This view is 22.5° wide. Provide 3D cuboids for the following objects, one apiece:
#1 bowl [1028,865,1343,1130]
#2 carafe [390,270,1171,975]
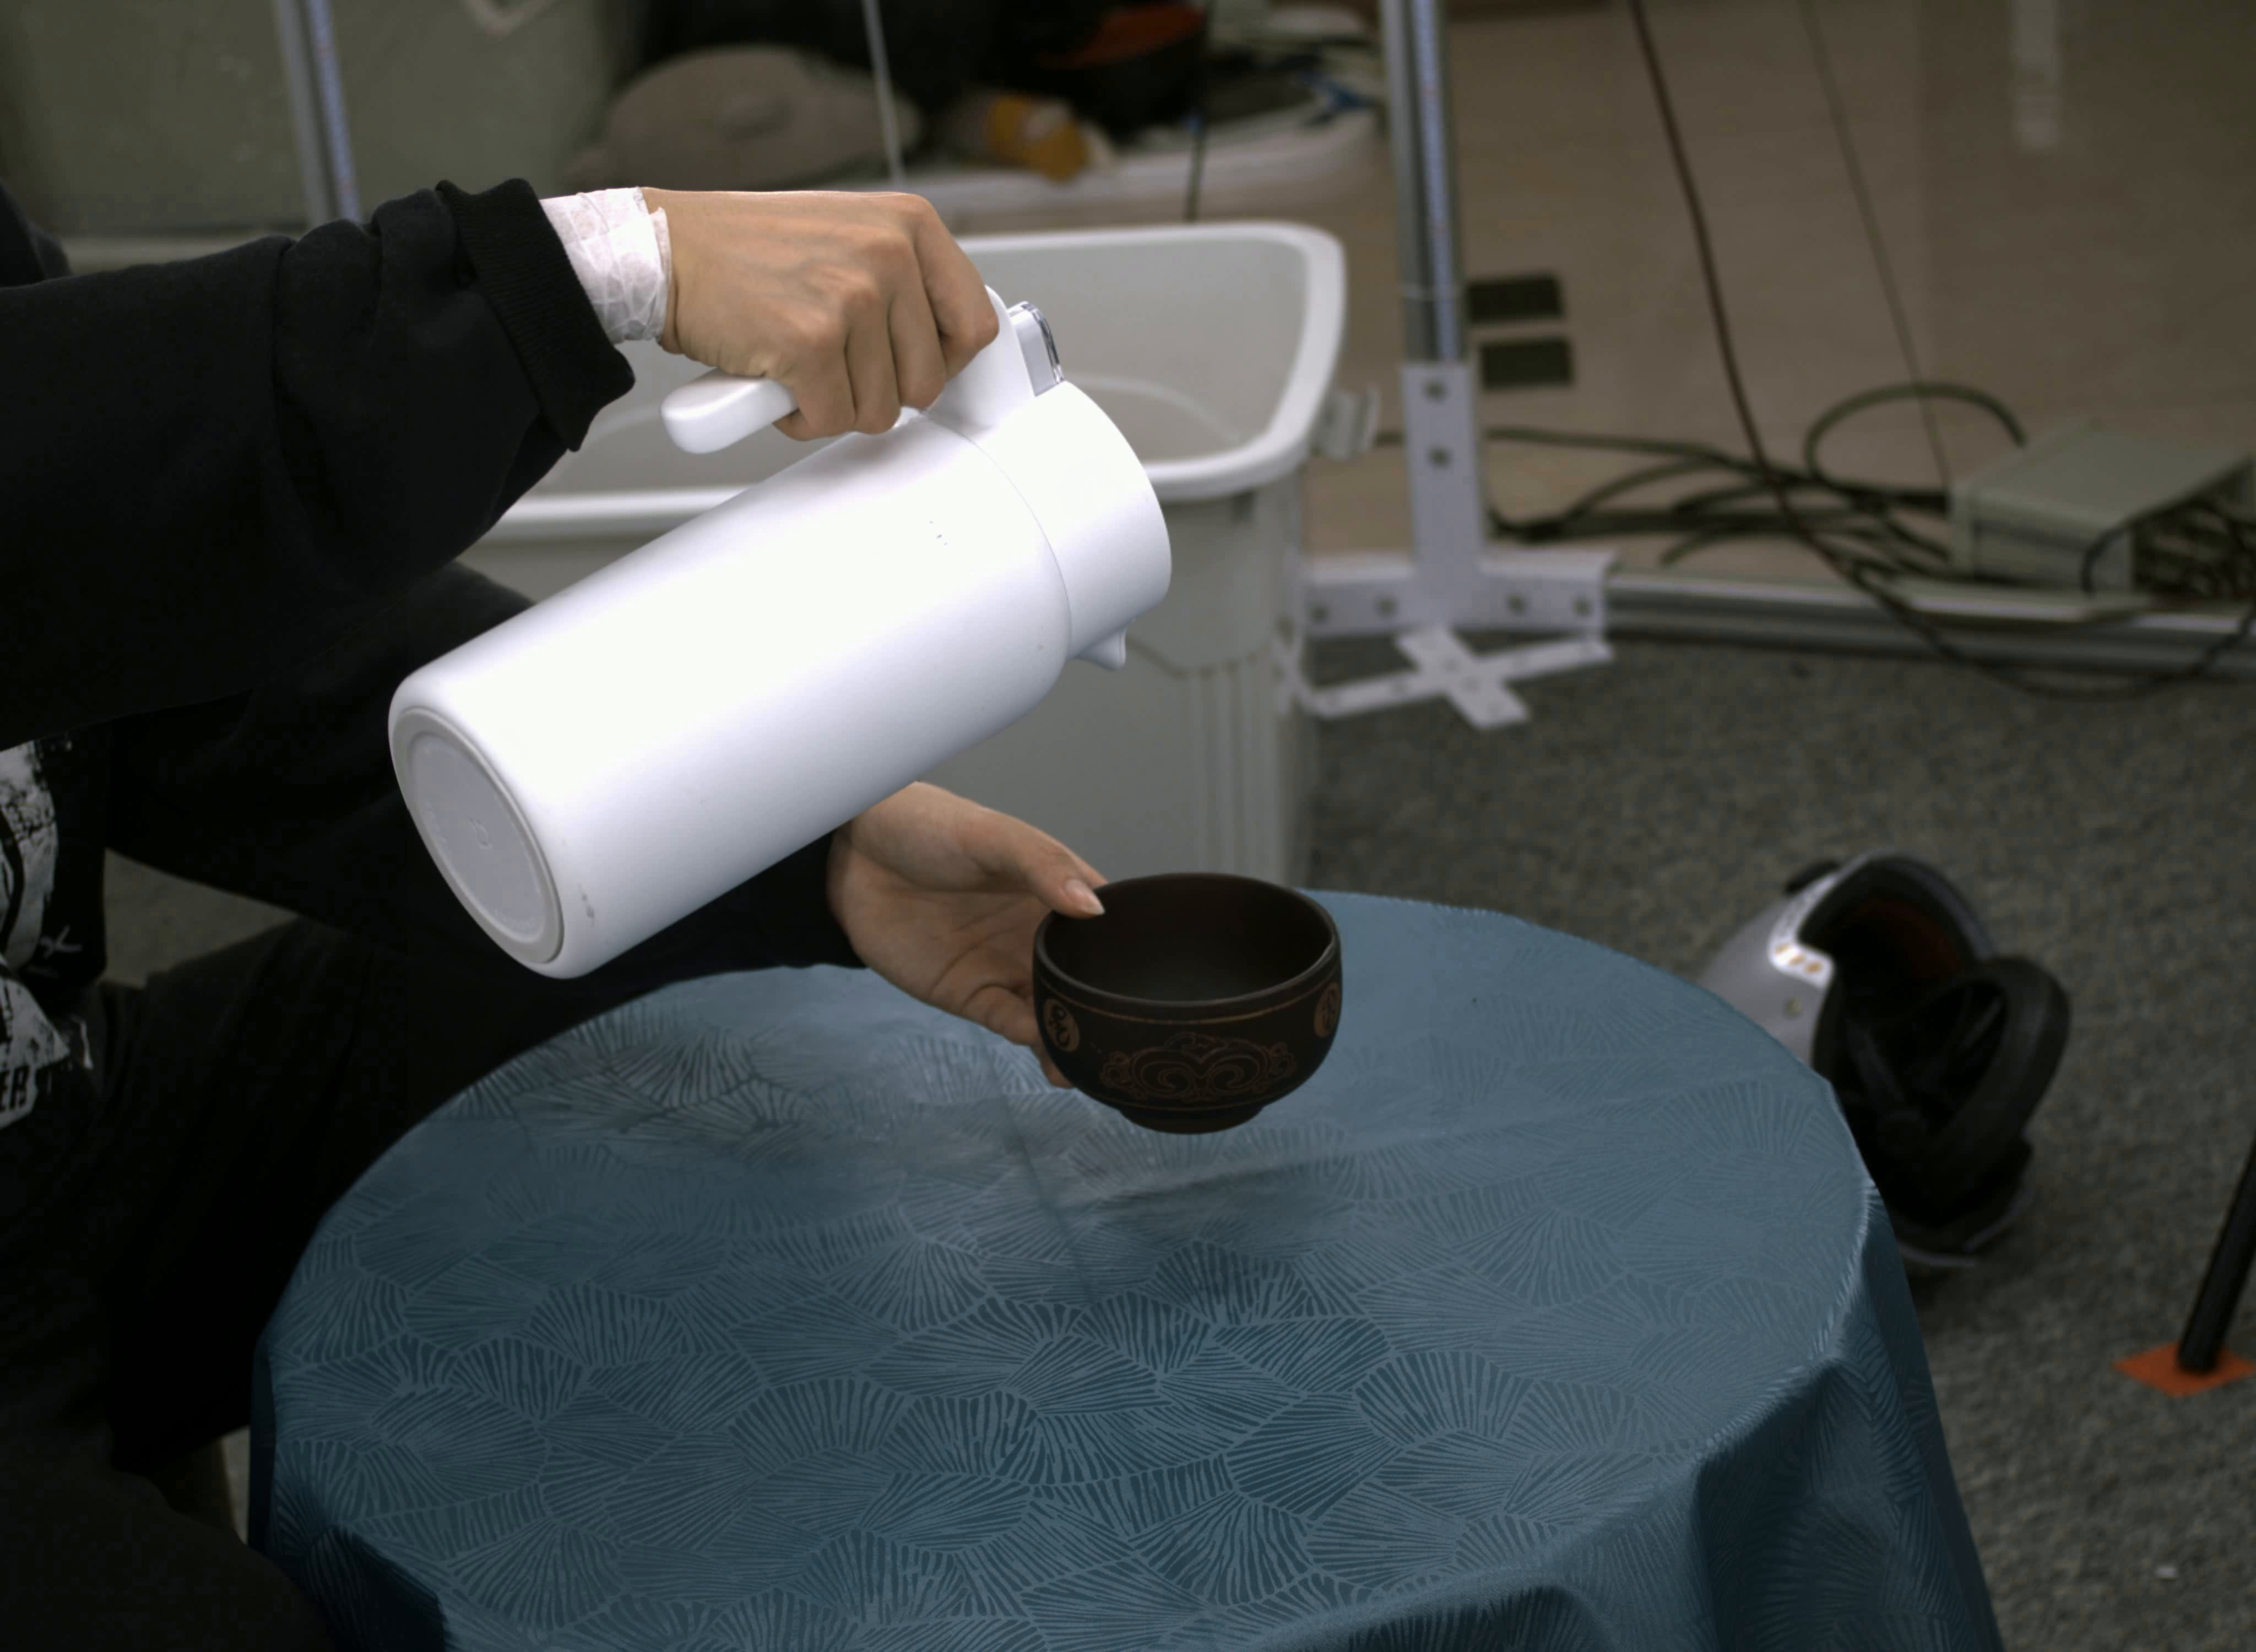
[{"bbox_3d":[0.022,0.070,2.111,0.118,0.071,0.116,-2,26,1],"label":"bowl"},{"bbox_3d":[-0.120,-0.073,1.947,0.267,0.176,0.122,-30,32,-24],"label":"carafe"}]
